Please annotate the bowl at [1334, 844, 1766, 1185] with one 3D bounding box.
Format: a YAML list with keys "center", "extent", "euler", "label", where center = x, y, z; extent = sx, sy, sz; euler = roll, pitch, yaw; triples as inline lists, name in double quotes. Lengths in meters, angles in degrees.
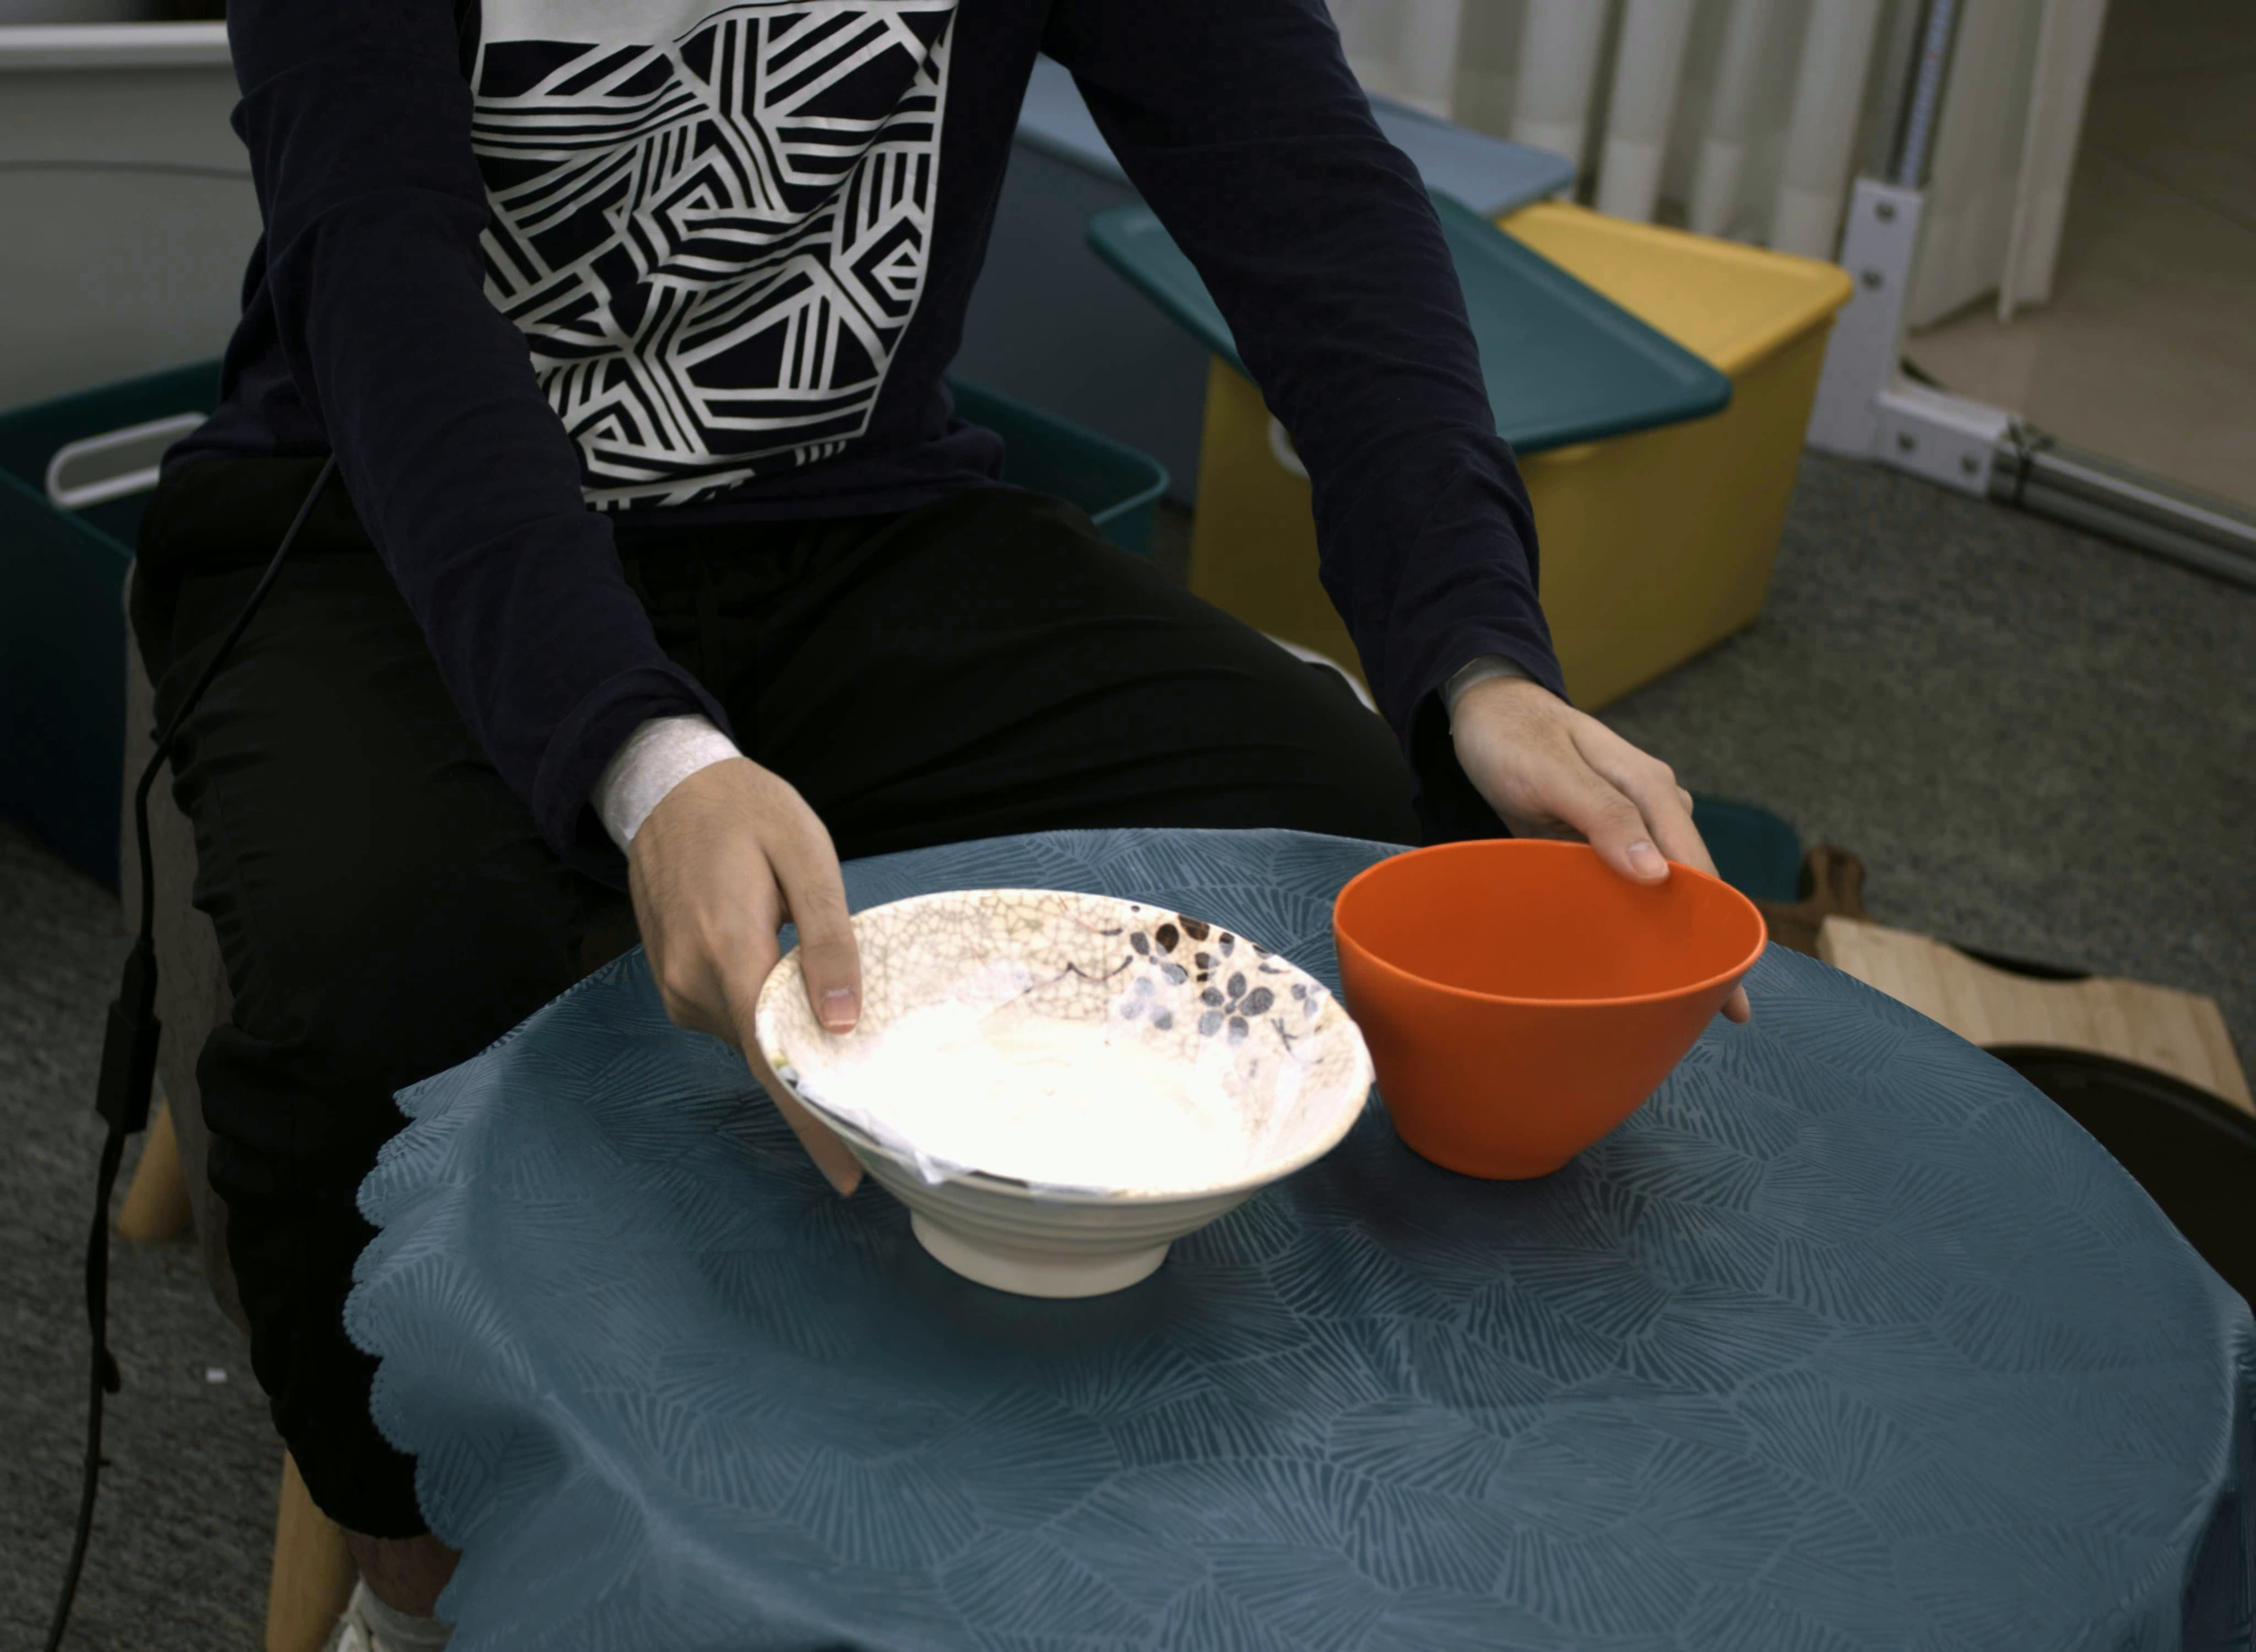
- center: [0.138, 0.069, 1.834]
  extent: [0.147, 0.104, 0.149]
  euler: [6, 27, -3]
  label: "bowl"

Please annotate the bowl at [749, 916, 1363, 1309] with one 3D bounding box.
- center: [-0.027, 0.105, 1.758]
  extent: [0.203, 0.078, 0.205]
  euler: [5, 22, -3]
  label: "bowl"
